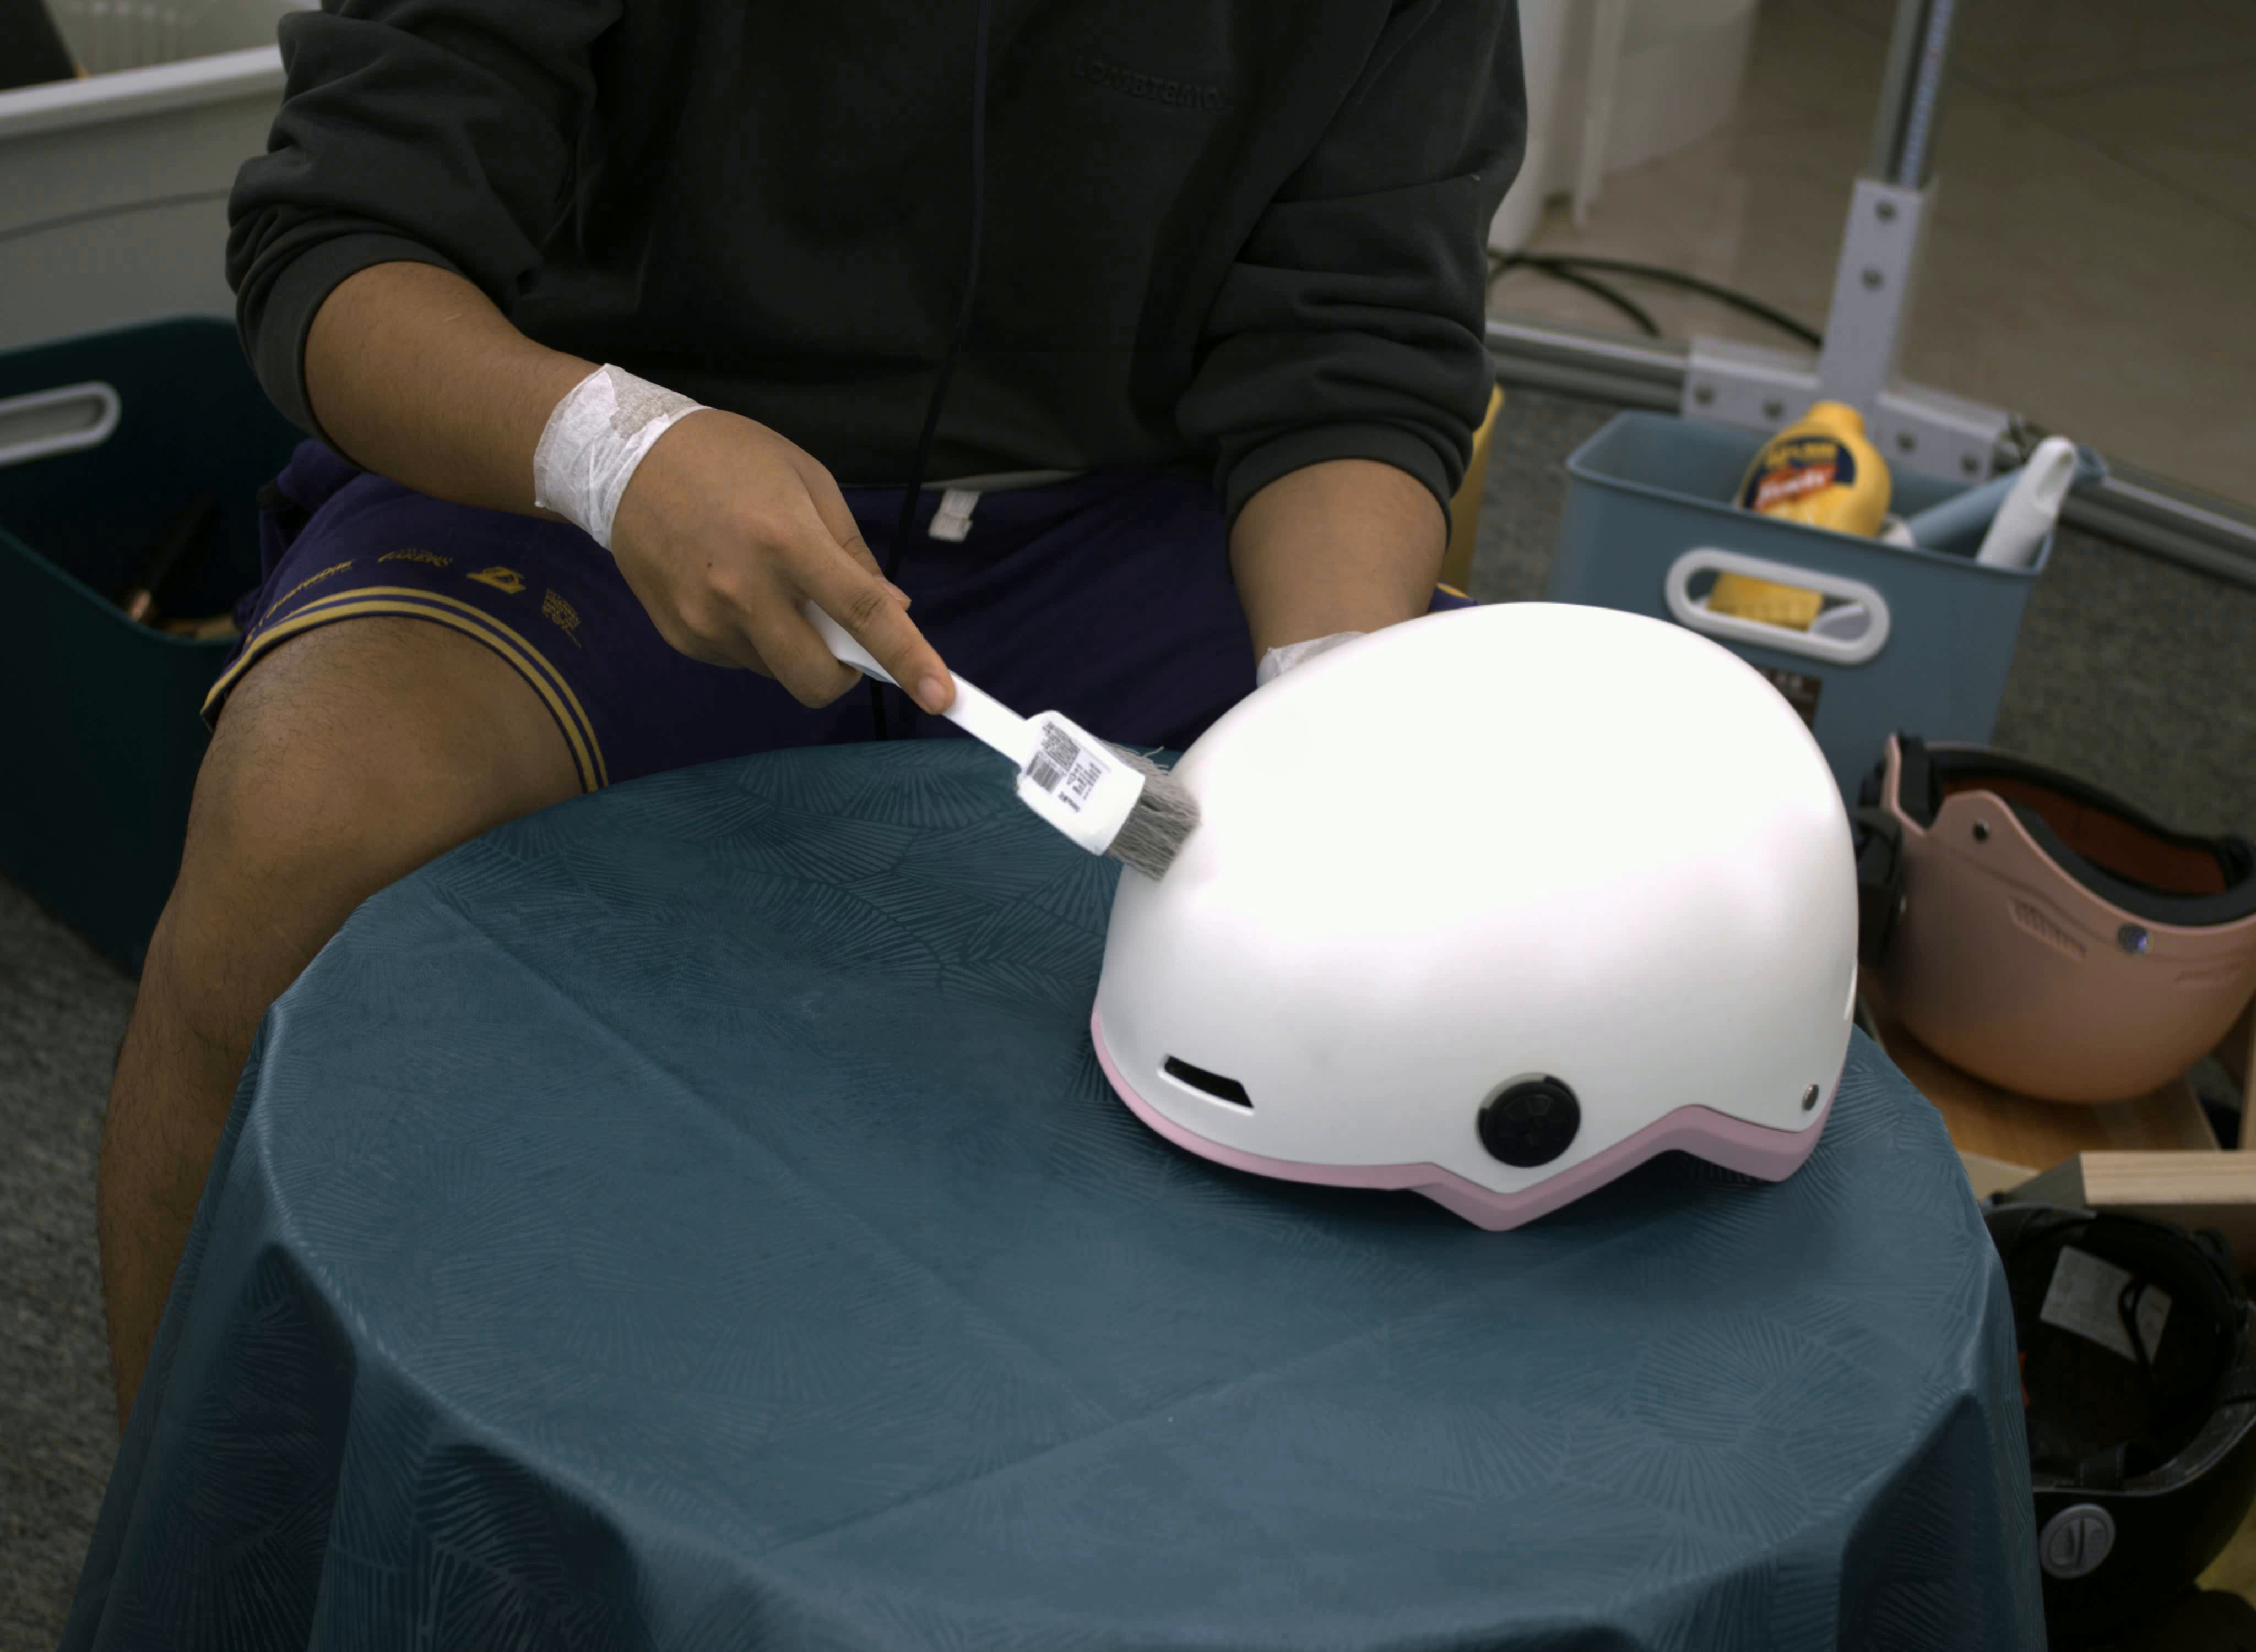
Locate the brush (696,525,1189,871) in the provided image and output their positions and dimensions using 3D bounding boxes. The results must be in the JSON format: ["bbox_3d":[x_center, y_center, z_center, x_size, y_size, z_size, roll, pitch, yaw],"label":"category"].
[{"bbox_3d":[-0.066,-0.048,1.888,0.246,0.034,0.050,33,5,41],"label":"brush"}]

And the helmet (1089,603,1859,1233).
[{"bbox_3d":[0.129,0.014,1.853,0.267,0.166,0.239,-2,32,-17],"label":"helmet"}]
